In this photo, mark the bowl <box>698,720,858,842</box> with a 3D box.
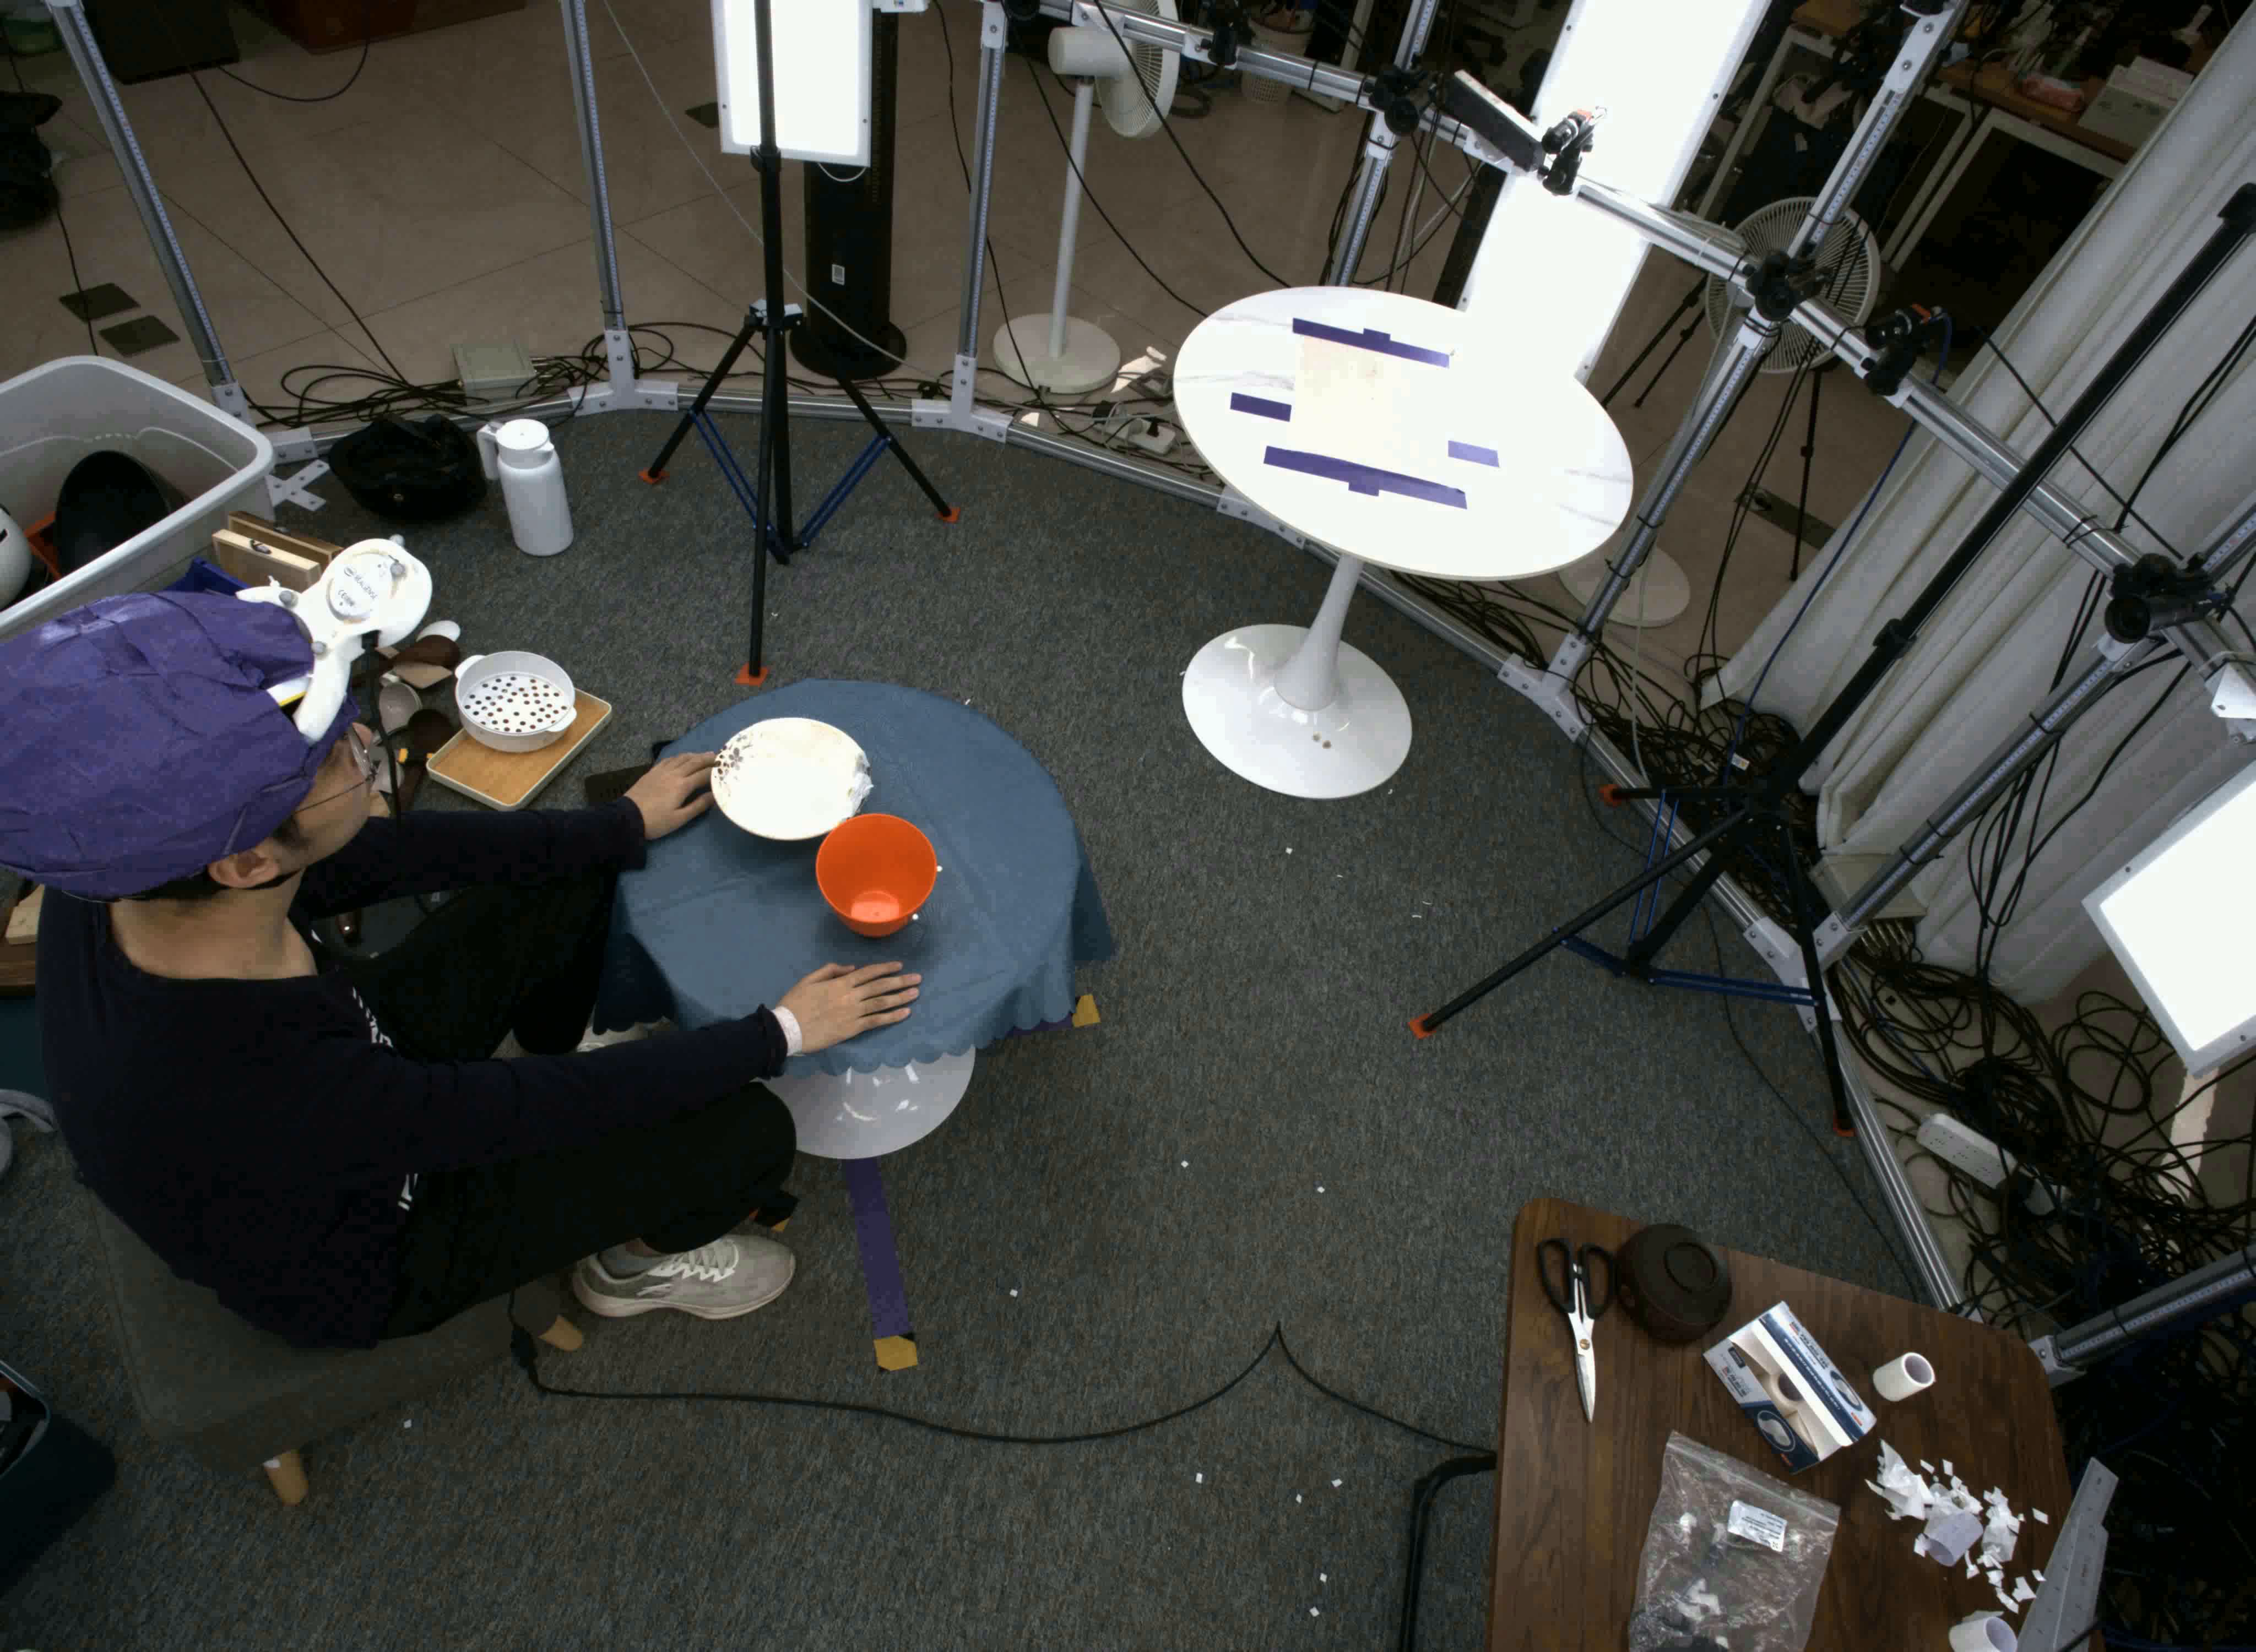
[{"bbox_3d":[-0.458,-0.039,1.707,0.203,0.079,0.200,7,53,-7],"label":"bowl"}]

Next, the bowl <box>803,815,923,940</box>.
[{"bbox_3d":[-0.333,0.076,1.638,0.147,0.107,0.145,7,54,-8],"label":"bowl"}]
